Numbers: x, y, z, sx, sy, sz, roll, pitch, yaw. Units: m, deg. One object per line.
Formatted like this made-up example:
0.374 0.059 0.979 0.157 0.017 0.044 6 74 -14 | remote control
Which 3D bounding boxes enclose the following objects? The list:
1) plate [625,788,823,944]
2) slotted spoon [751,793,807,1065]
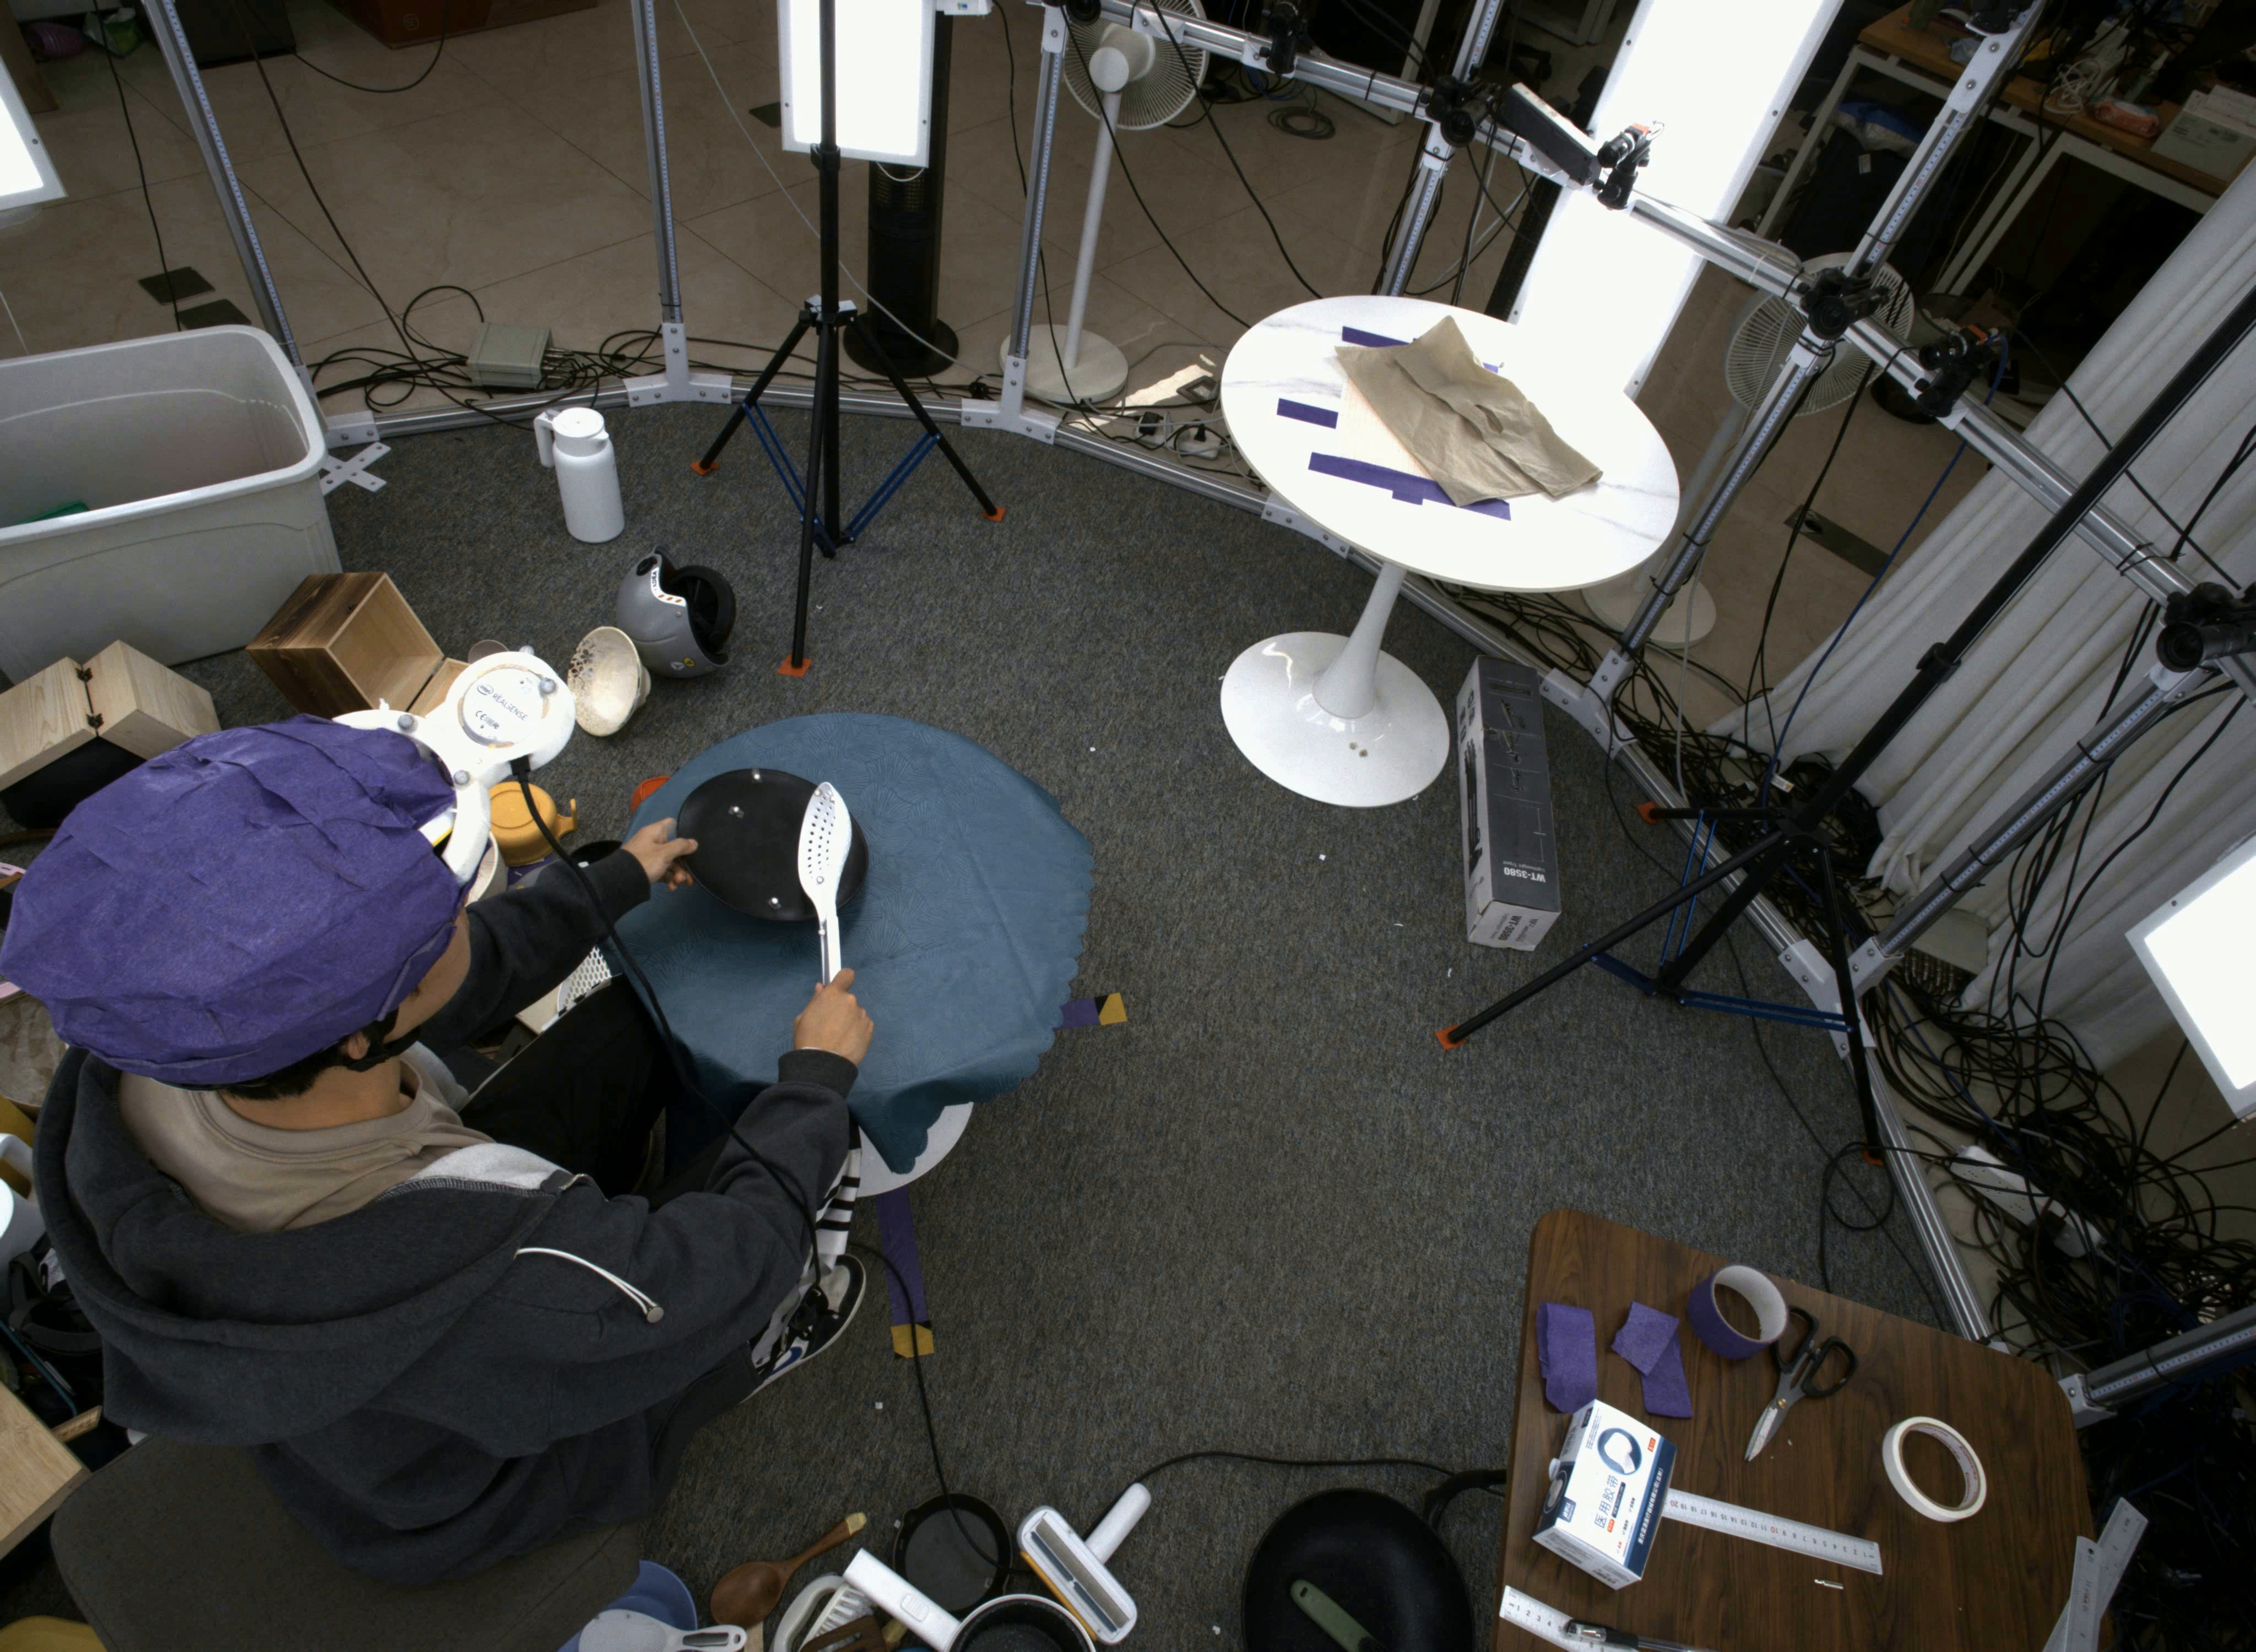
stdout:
-0.500 0.050 1.600 0.247 0.023 0.239 21 43 -18 | plate
-0.404 0.114 1.508 0.046 0.137 0.342 9 49 -28 | slotted spoon
